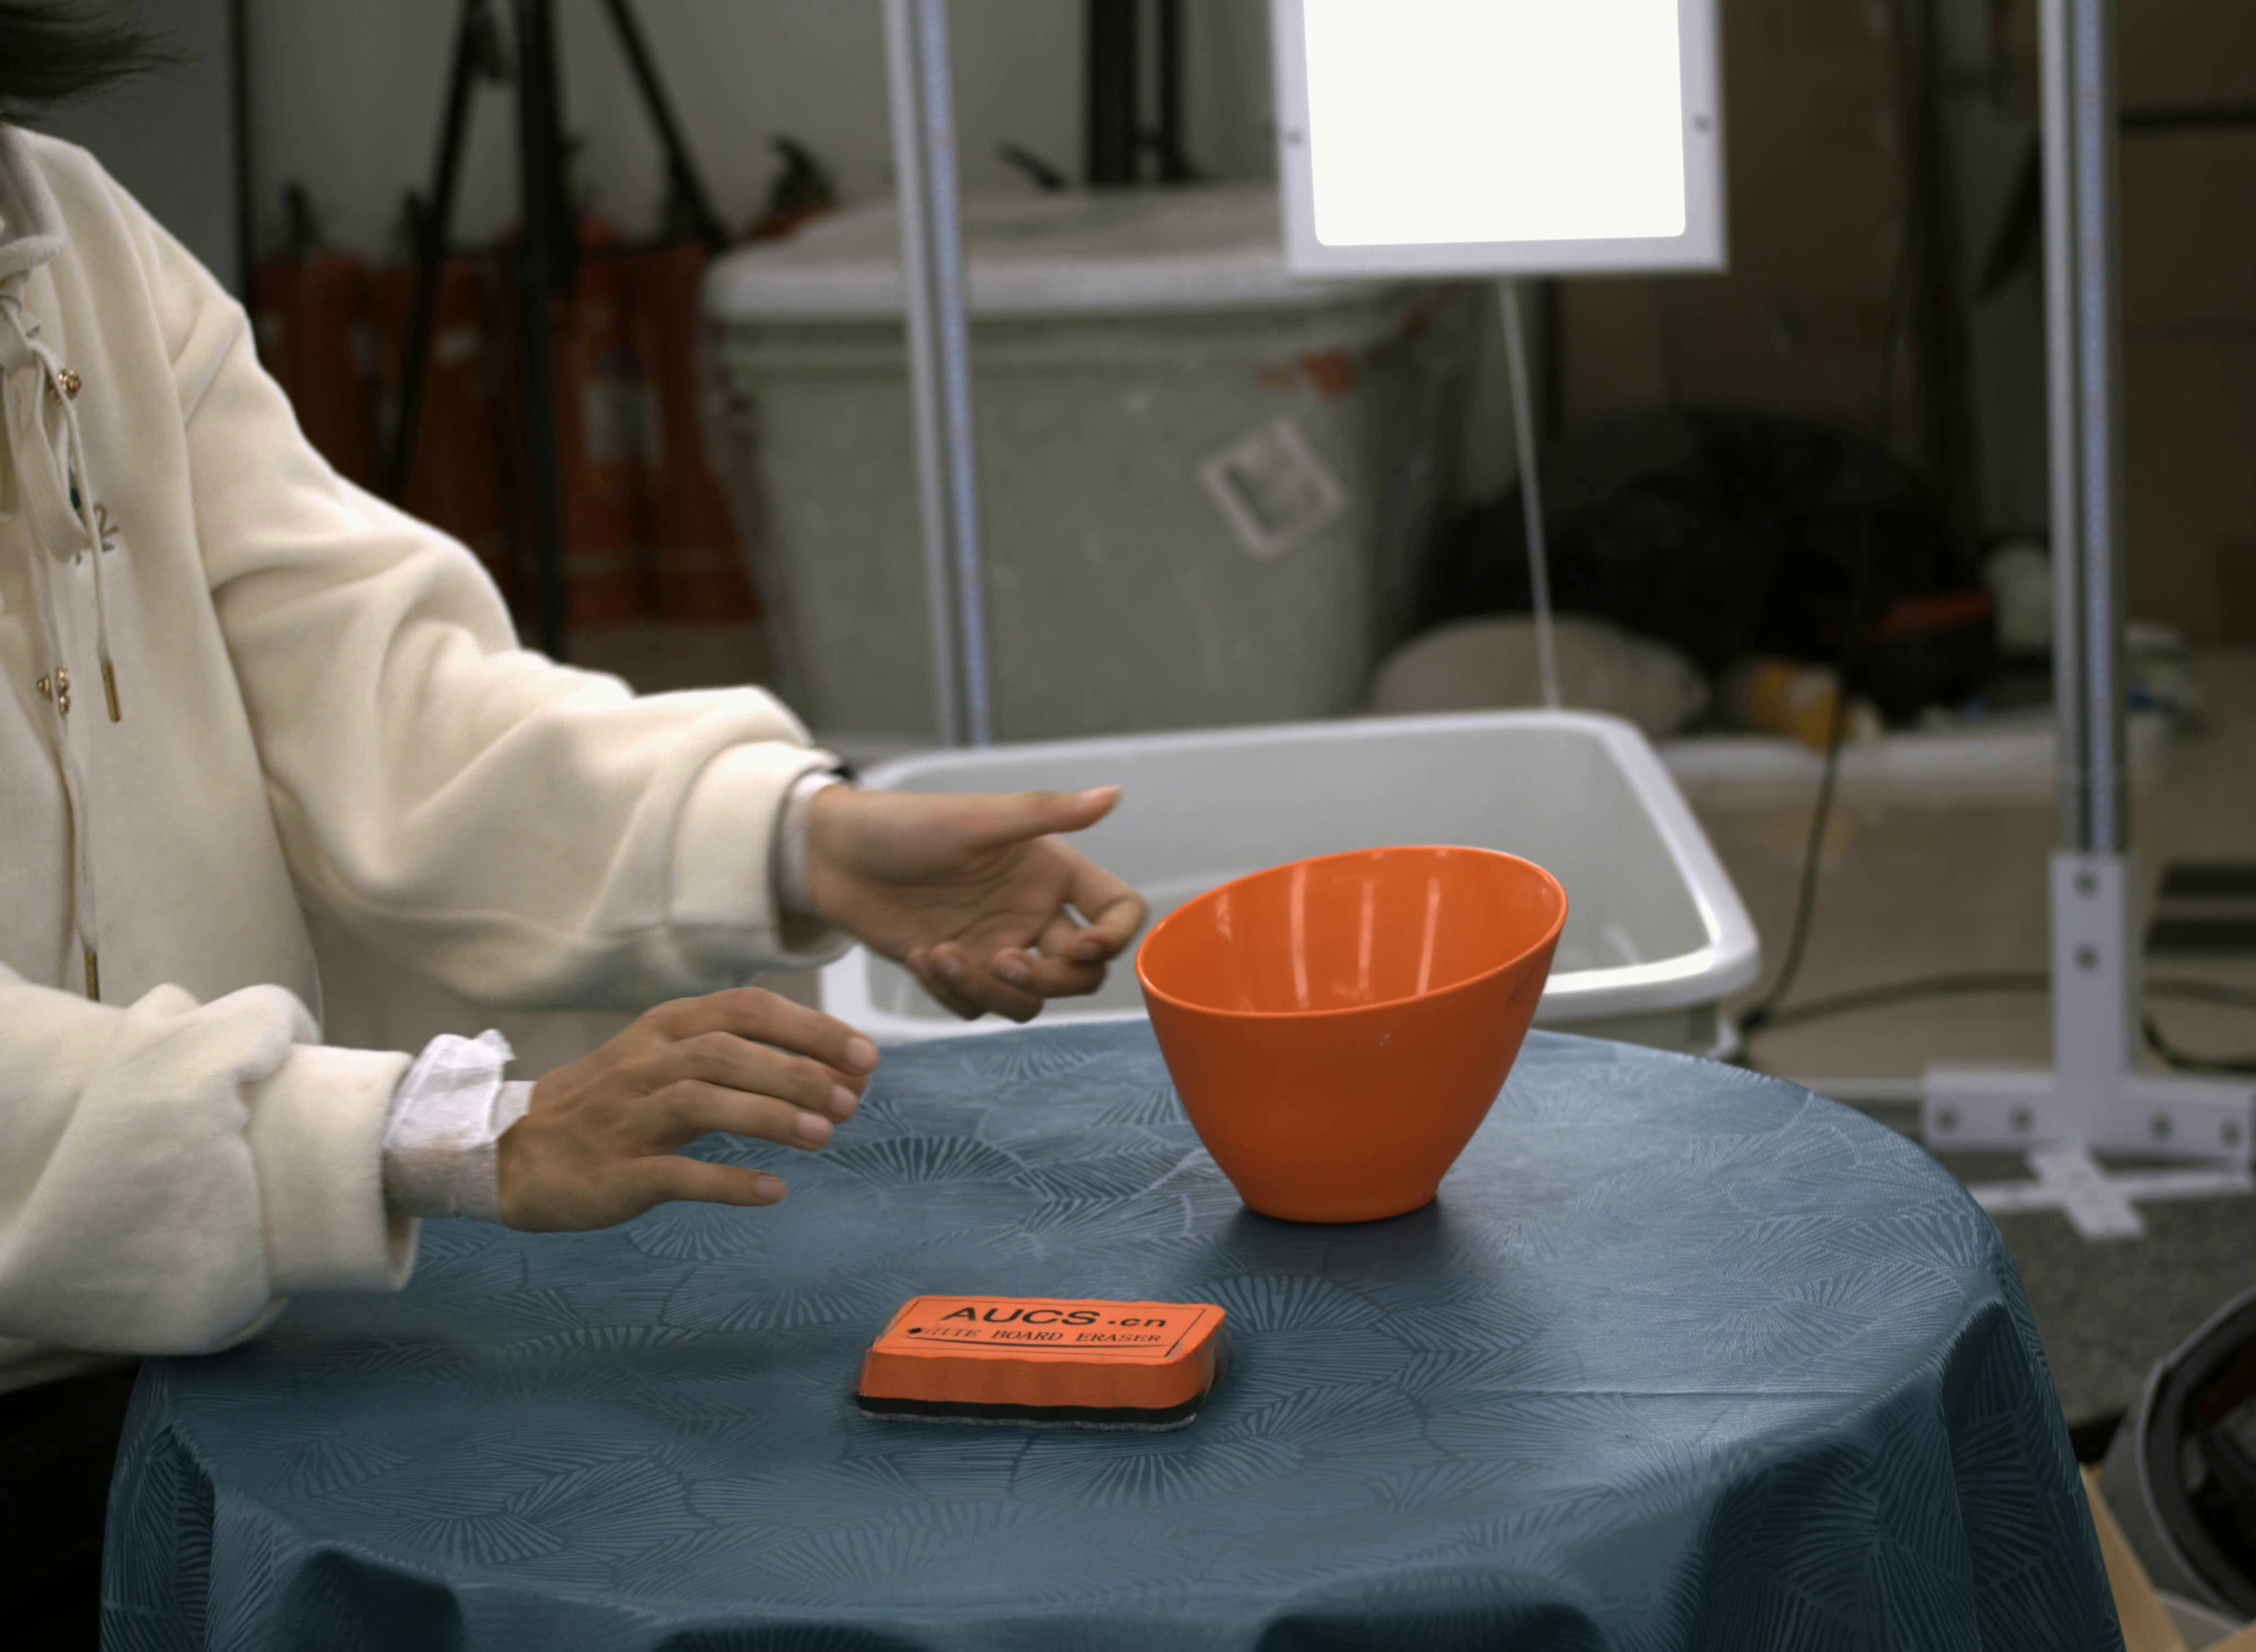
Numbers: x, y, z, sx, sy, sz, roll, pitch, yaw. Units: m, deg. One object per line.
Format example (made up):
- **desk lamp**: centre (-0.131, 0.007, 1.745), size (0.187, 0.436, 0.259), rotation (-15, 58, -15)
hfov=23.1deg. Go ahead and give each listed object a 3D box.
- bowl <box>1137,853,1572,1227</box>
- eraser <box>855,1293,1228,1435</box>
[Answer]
- **bowl**: centre (0.078, 0.075, 1.864), size (0.147, 0.105, 0.148), rotation (-2, 13, -1)
- **eraser**: centre (-0.026, 0.165, 1.701), size (0.109, 0.023, 0.058), rotation (0, 17, 21)
